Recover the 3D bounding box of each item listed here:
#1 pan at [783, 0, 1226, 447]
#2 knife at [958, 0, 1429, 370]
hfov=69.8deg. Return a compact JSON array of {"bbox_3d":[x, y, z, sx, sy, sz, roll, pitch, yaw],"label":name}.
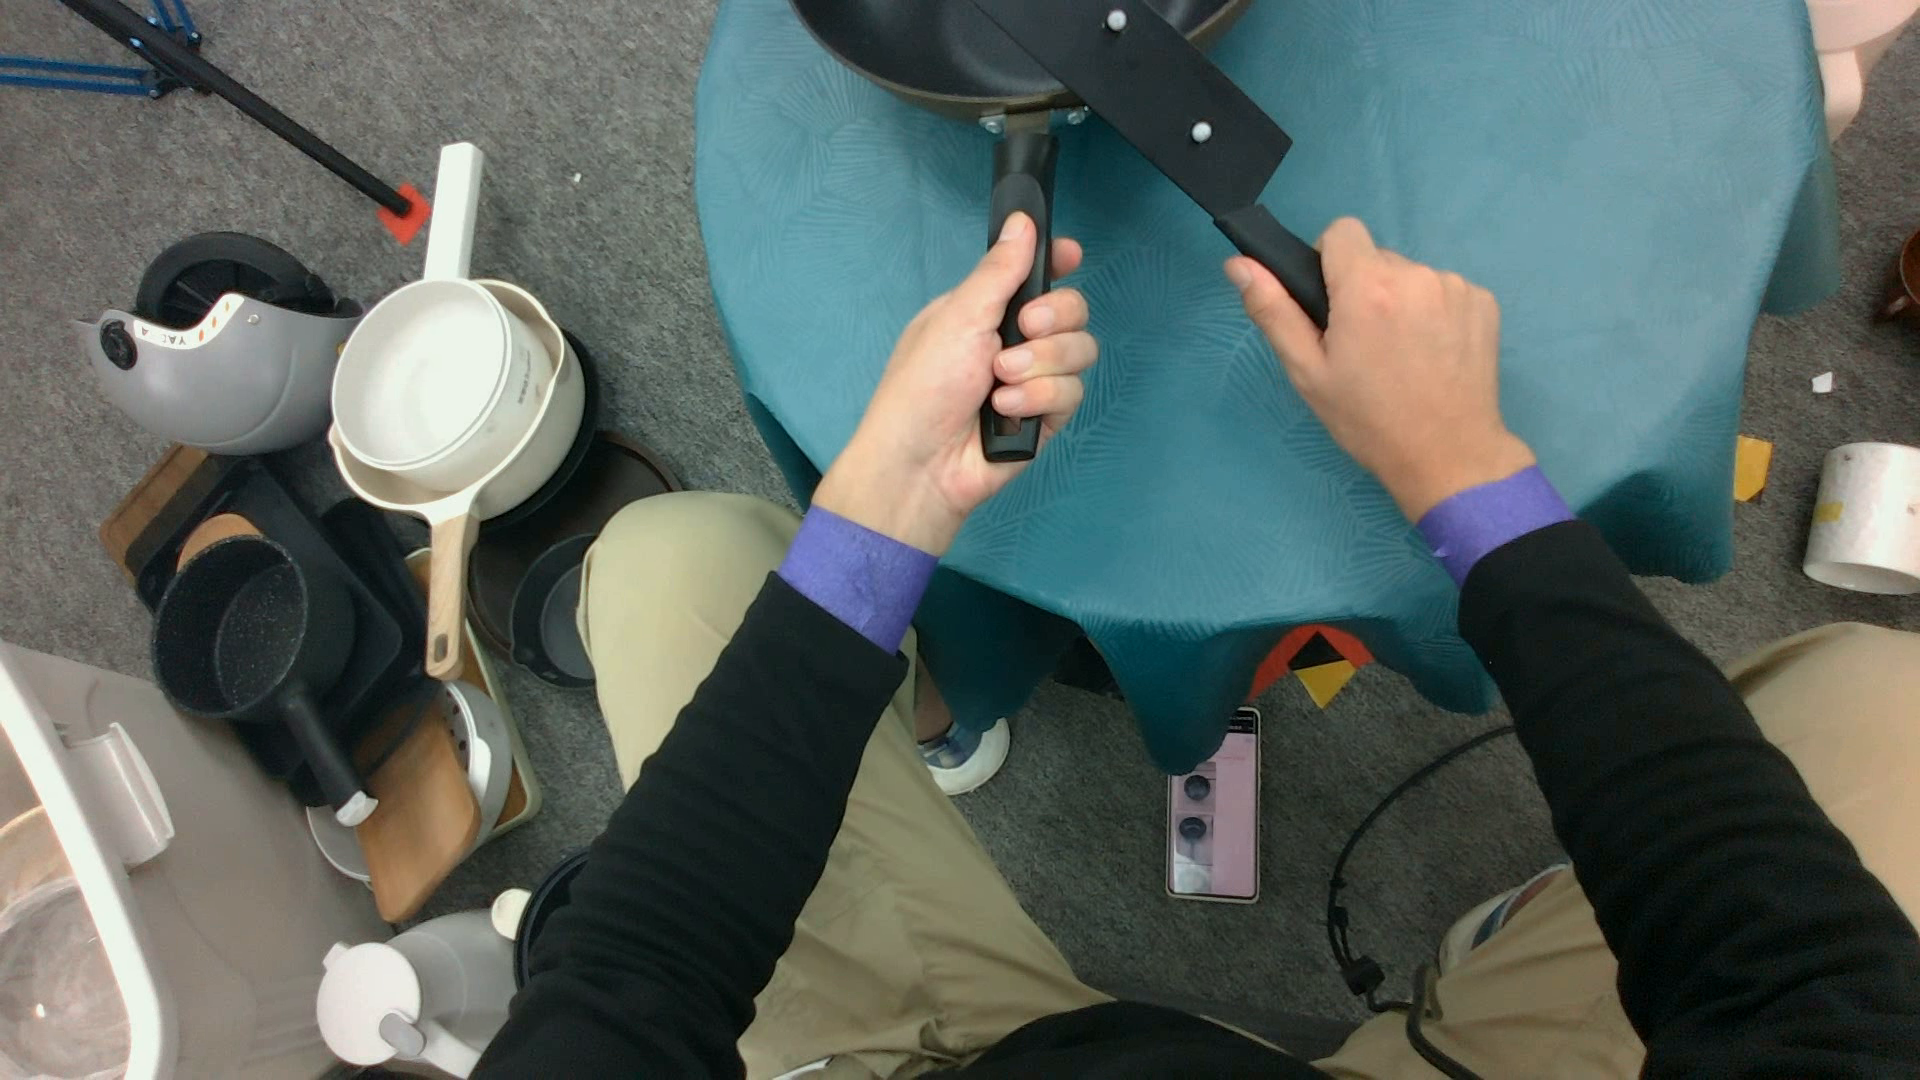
[{"bbox_3d":[0.032,-0.250,0.712,0.288,0.086,0.464,-2,69,13],"label":"pan"},{"bbox_3d":[0.107,-0.187,0.641,0.302,0.021,0.081,42,66,-8],"label":"knife"}]
